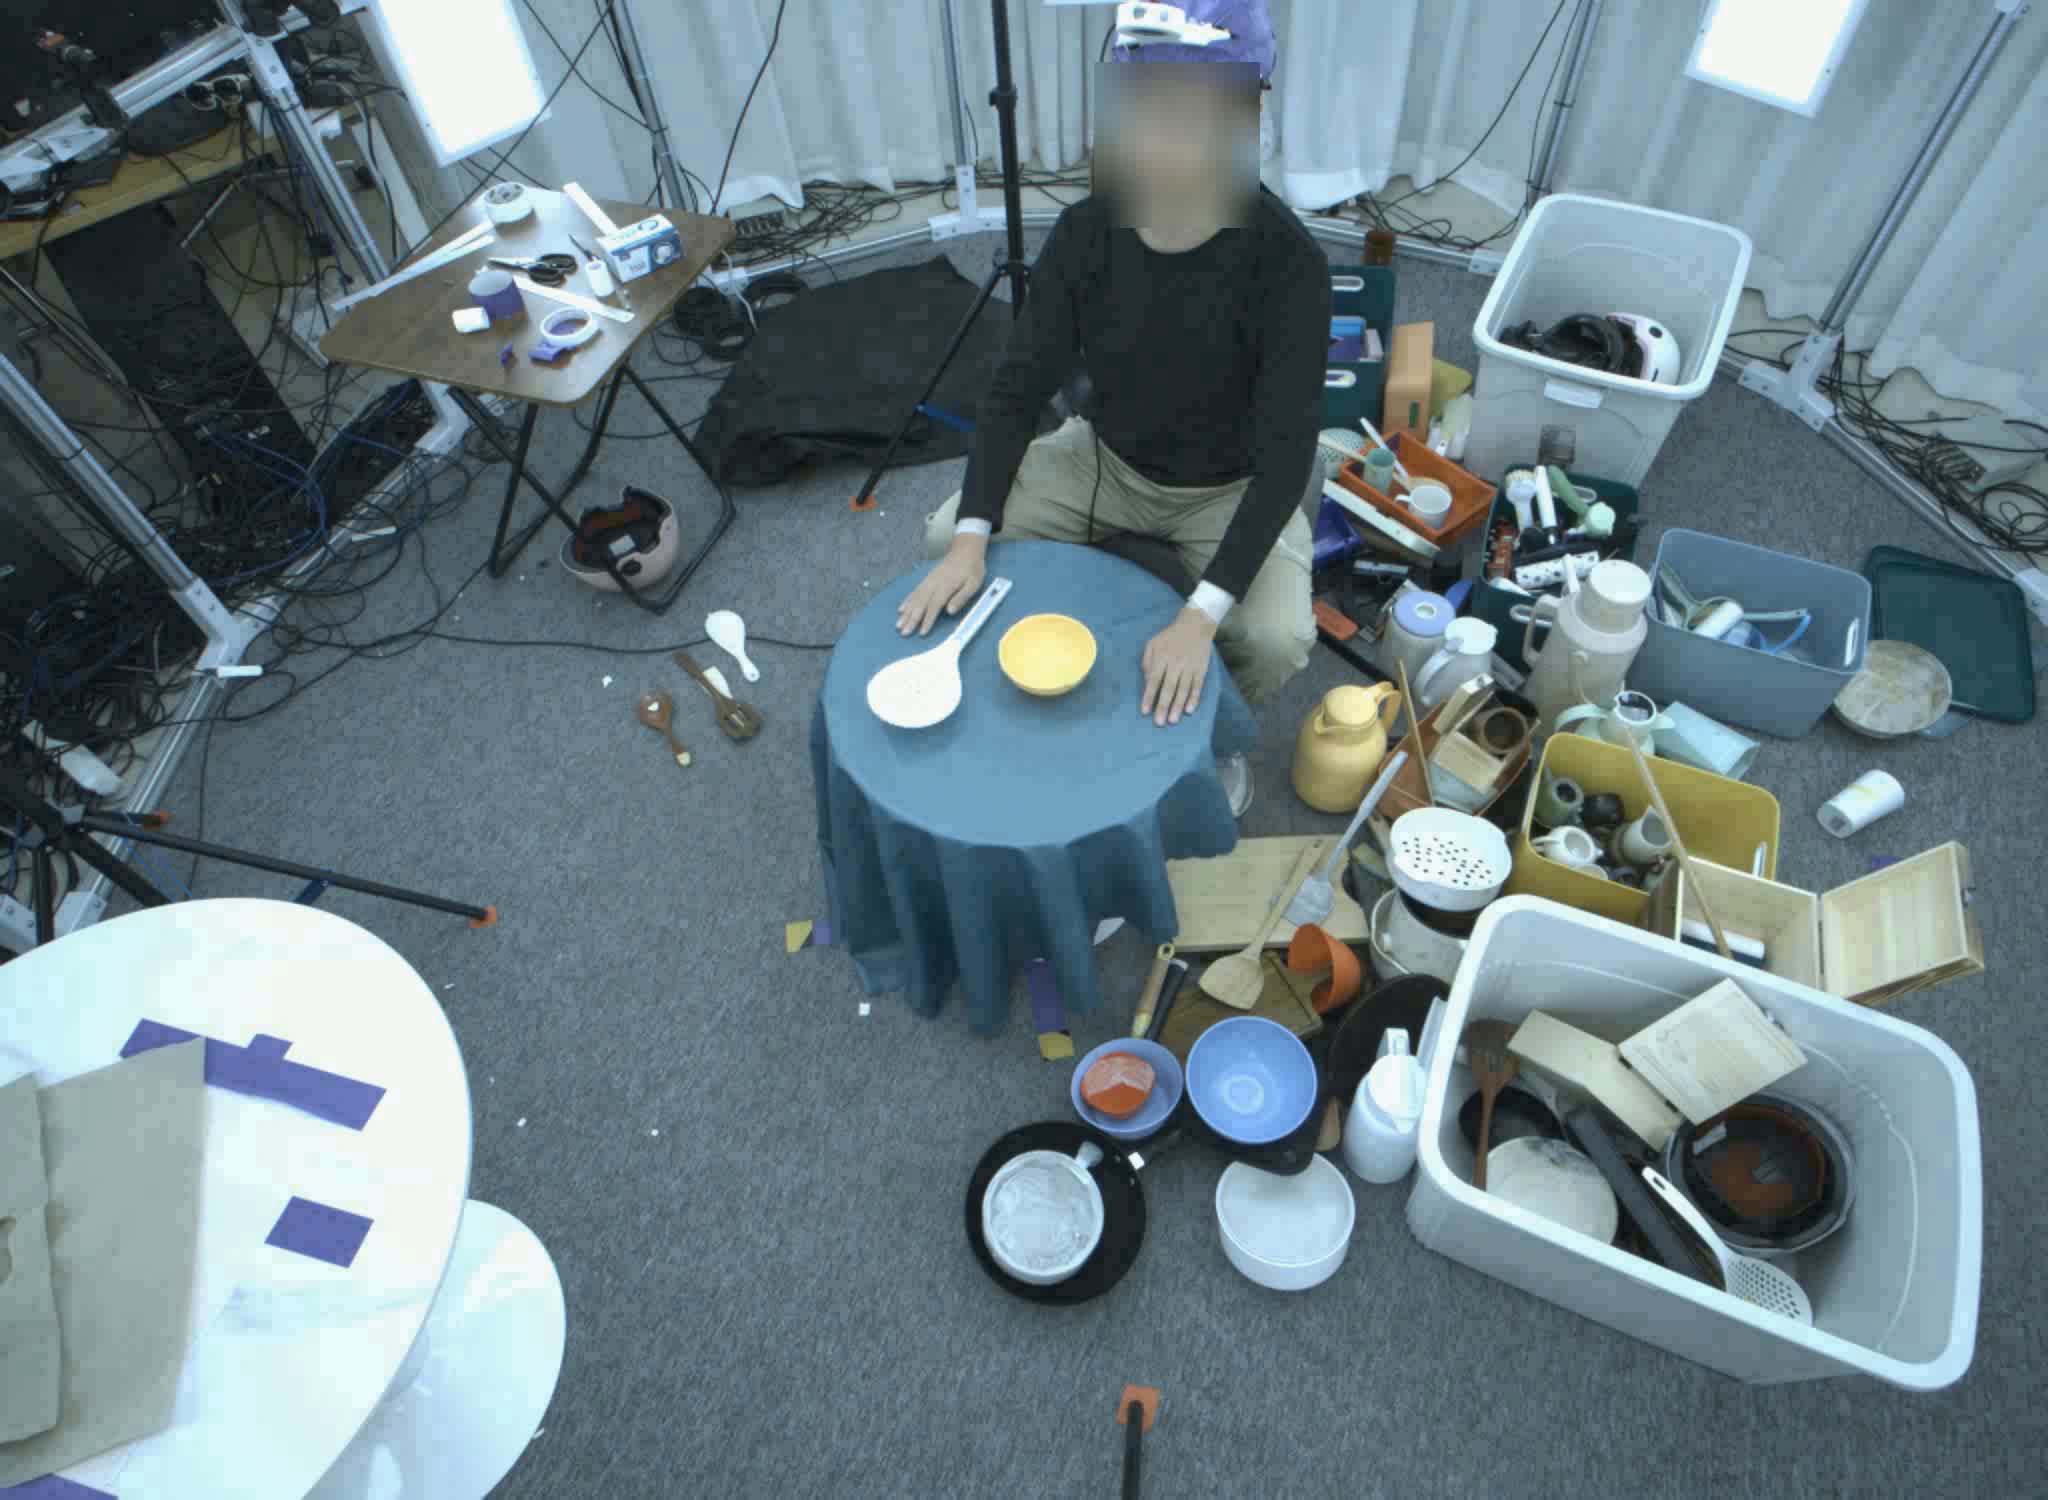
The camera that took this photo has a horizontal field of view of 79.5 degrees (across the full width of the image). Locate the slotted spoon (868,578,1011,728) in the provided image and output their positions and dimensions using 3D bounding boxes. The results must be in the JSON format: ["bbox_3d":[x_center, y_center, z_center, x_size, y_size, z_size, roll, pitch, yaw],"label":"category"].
[{"bbox_3d":[-0.113,-0.154,1.872,0.134,0.046,0.350,22,58,16],"label":"slotted spoon"}]

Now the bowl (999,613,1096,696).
[{"bbox_3d":[0.035,-0.132,1.846,0.145,0.061,0.144,0,56,1],"label":"bowl"}]
